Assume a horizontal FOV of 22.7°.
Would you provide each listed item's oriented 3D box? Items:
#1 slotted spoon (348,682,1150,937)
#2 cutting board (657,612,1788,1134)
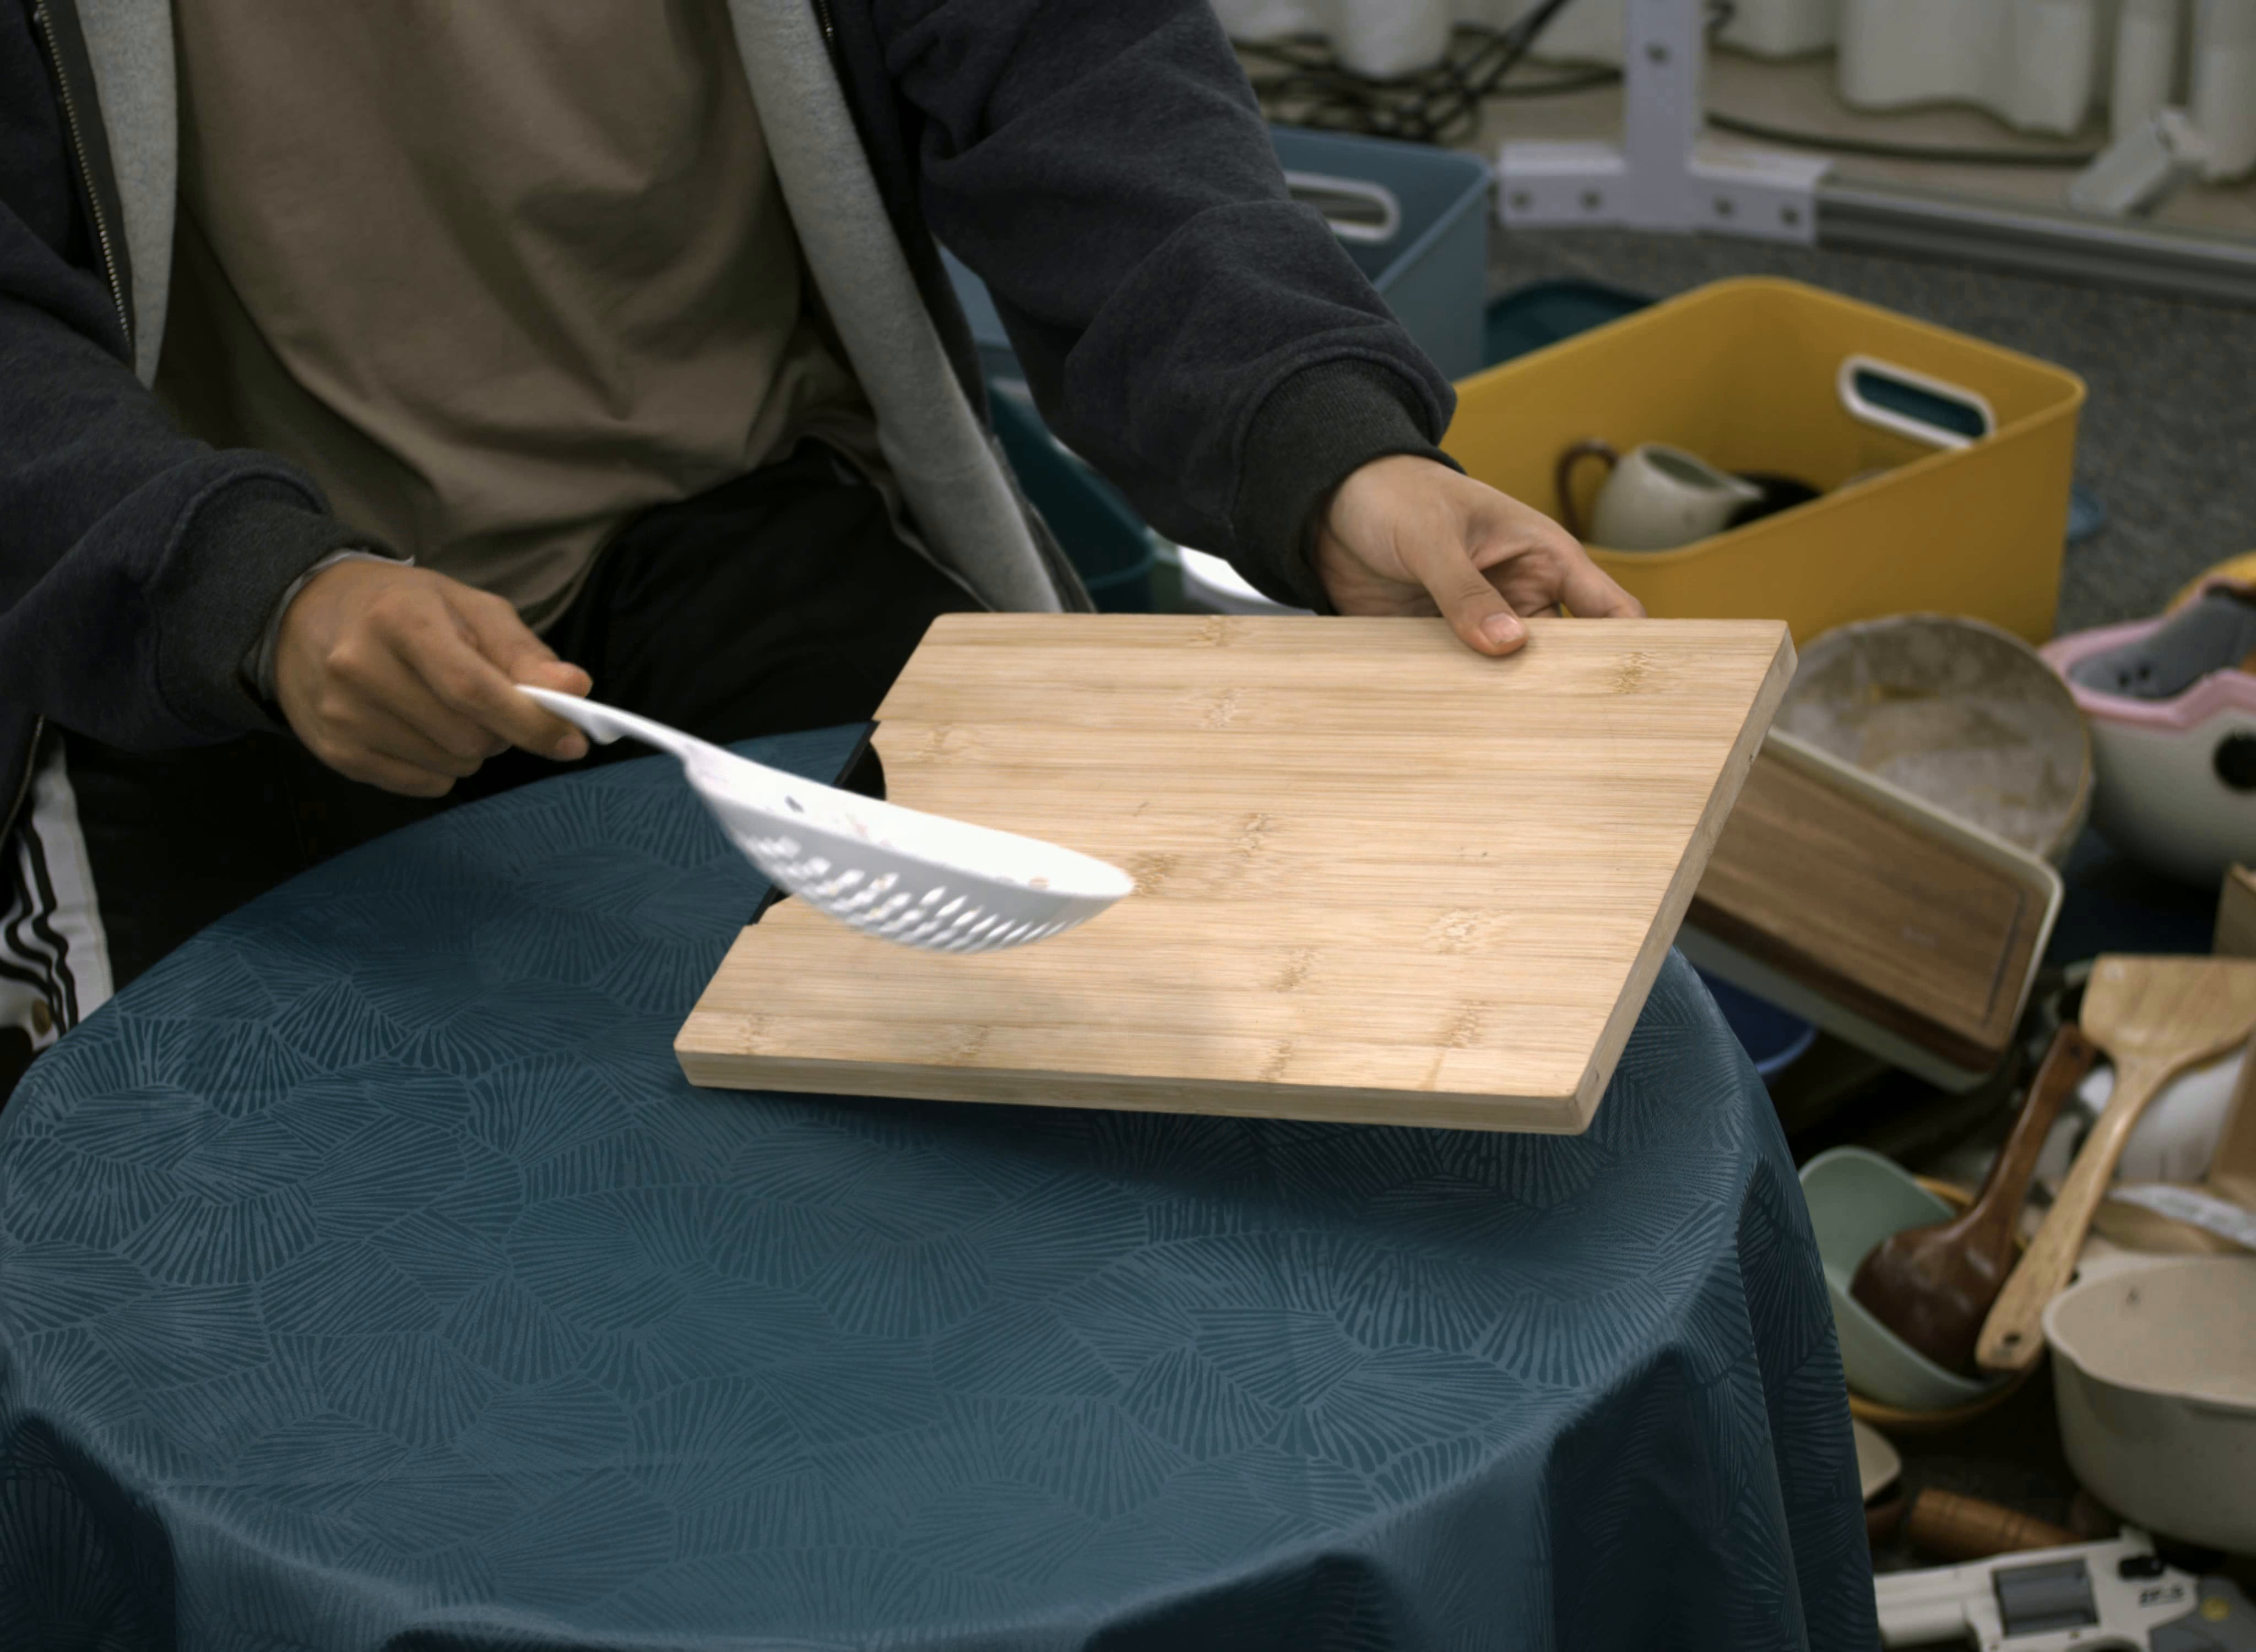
[{"bbox_3d":[-0.142,-0.017,1.898,0.347,0.050,0.137,22,9,41],"label":"slotted spoon"},{"bbox_3d":[0.033,0.009,1.941,0.345,0.023,0.256,0,40,27],"label":"cutting board"}]
